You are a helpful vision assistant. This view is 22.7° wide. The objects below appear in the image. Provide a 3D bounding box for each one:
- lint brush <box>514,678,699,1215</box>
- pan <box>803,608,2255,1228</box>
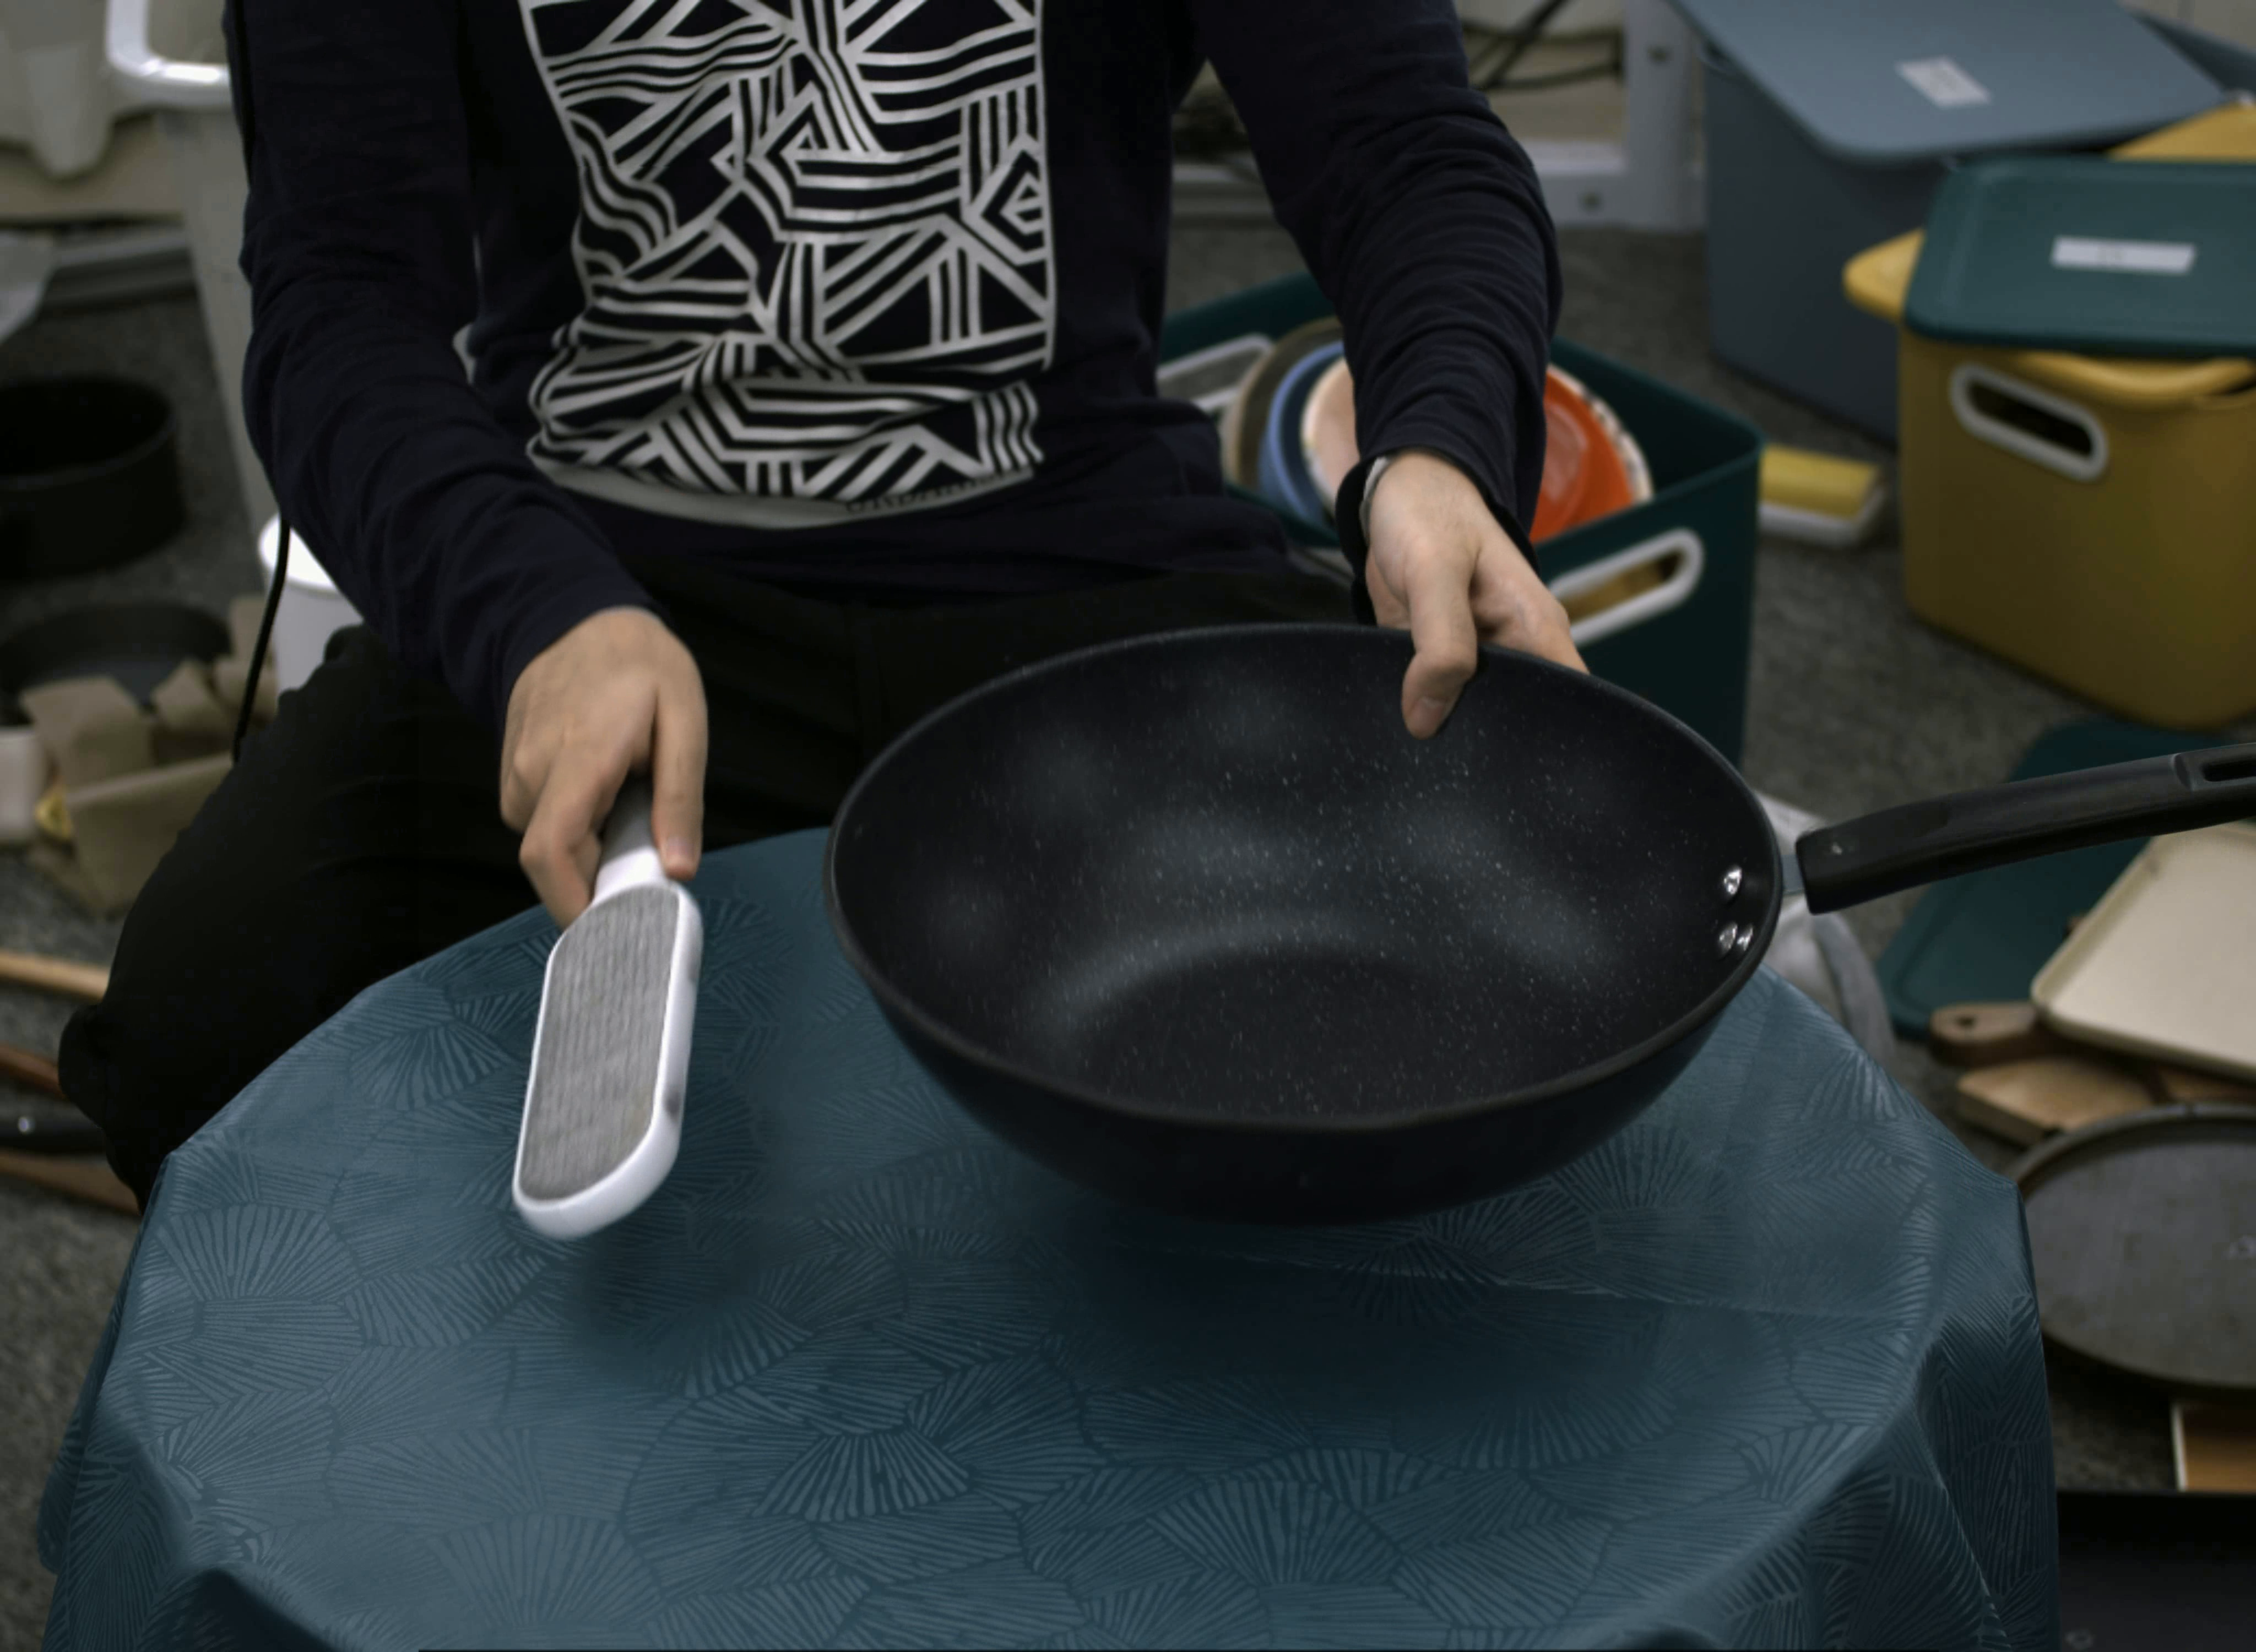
[{"bbox_3d":[-0.170,0.034,1.904,0.059,0.021,0.314,-30,27,17],"label":"lint brush"},{"bbox_3d":[0.133,0.031,1.817,0.475,0.110,0.315,0,31,-2],"label":"pan"}]
